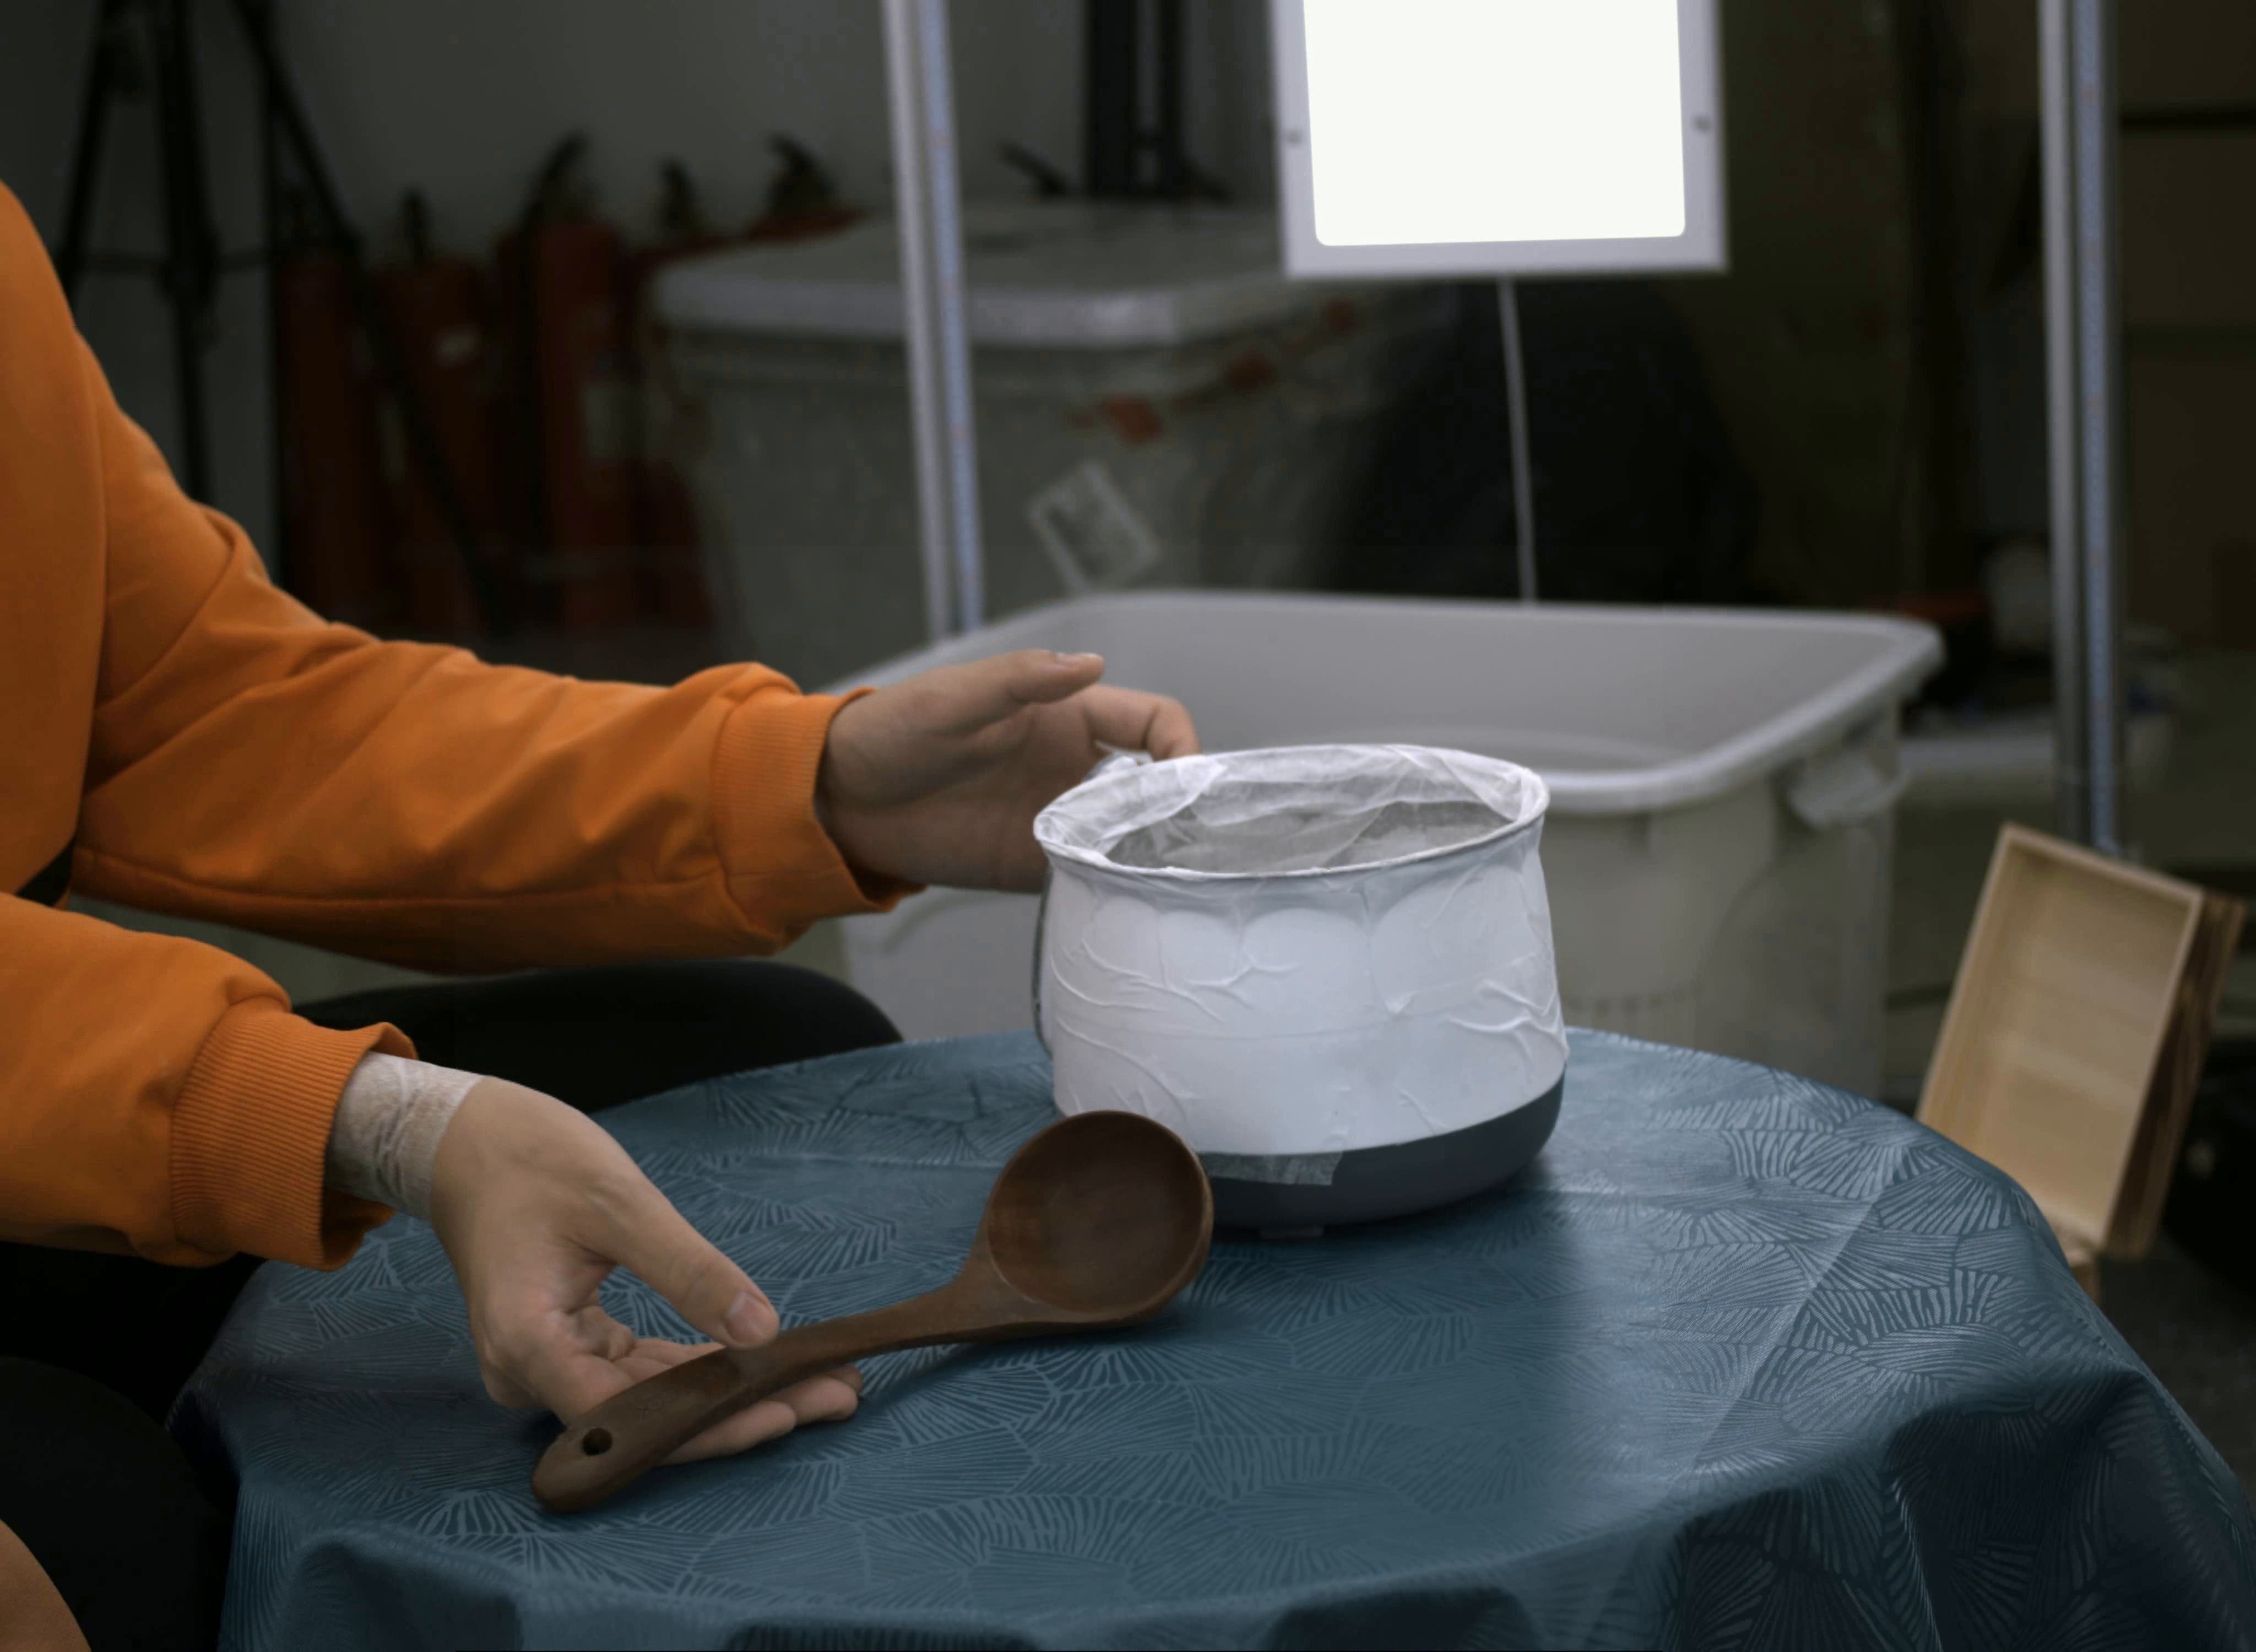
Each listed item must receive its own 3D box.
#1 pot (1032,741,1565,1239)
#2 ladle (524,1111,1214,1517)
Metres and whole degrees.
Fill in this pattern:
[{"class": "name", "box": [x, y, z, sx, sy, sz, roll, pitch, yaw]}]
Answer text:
[{"class": "pot", "box": [0.043, 0.050, 1.903, 0.174, 0.137, 0.238, -14, 17, -35]}, {"class": "ladle", "box": [-0.078, 0.150, 1.705, 0.253, 0.066, 0.077, -16, 42, -40]}]
